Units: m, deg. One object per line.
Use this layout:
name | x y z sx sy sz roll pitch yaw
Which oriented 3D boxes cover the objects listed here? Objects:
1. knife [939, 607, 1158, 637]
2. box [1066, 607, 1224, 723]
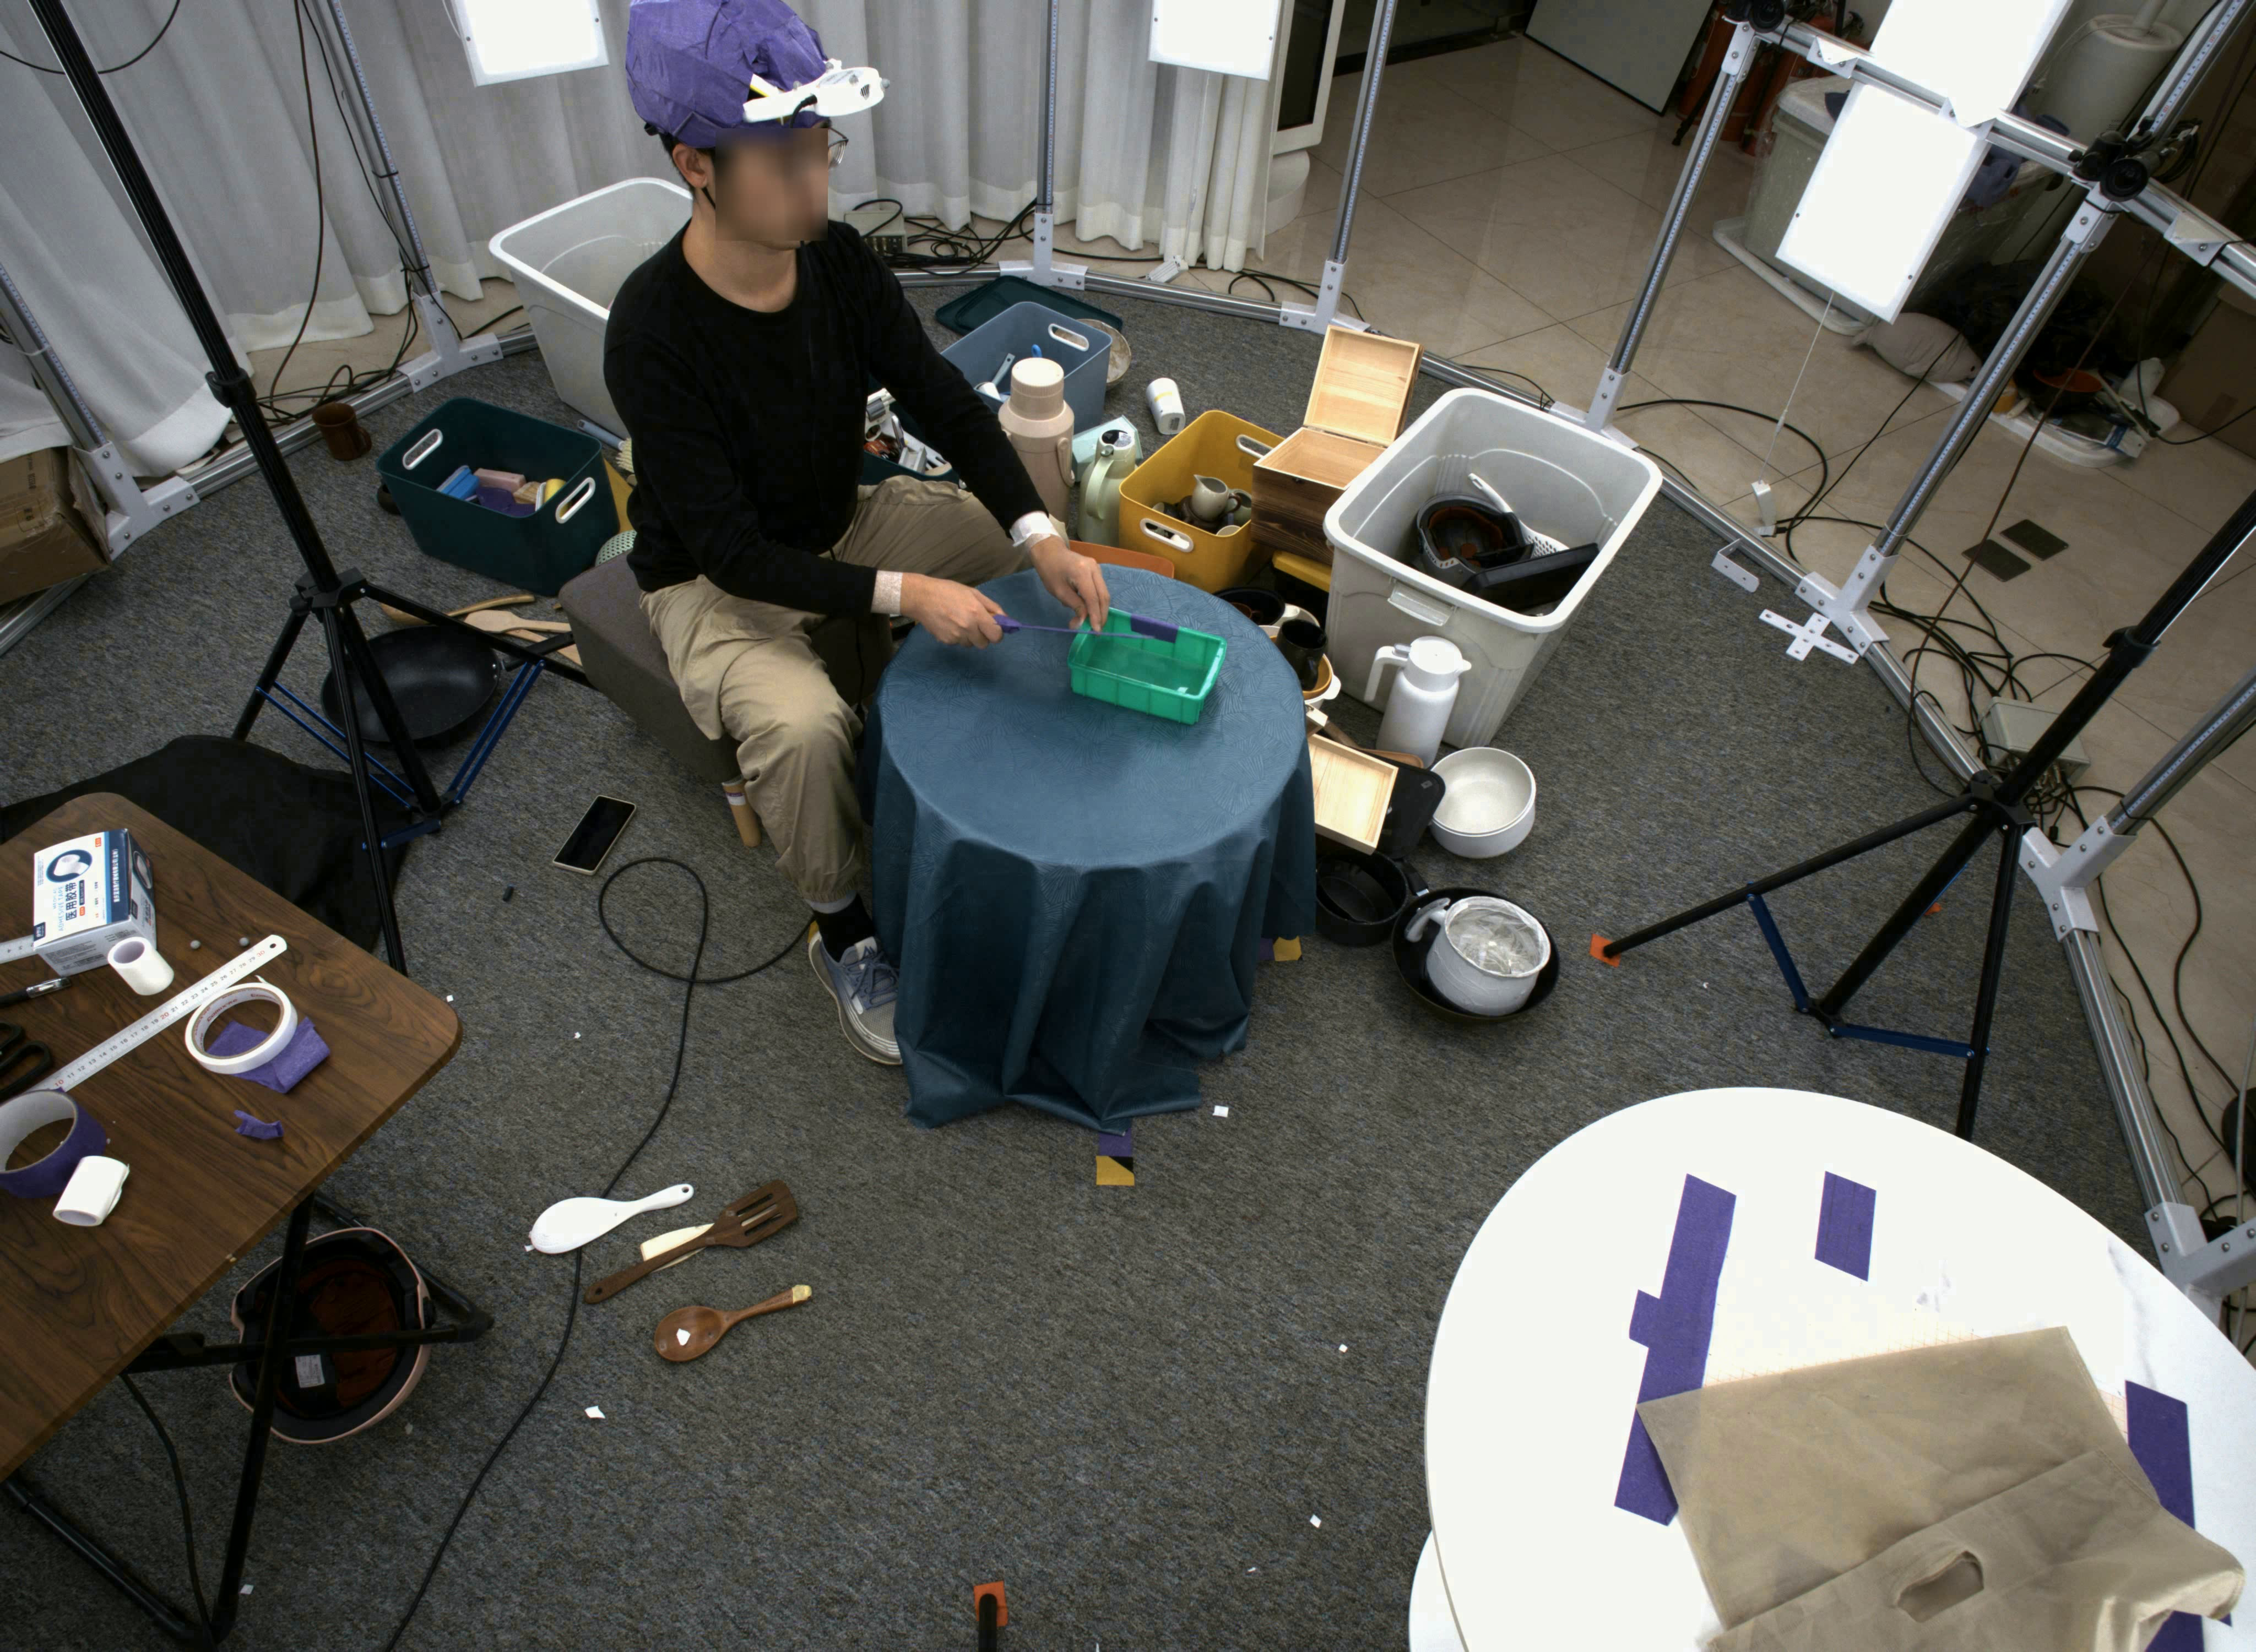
knife | -0.119 -0.279 1.768 0.316 0.032 0.104 5 8 13
box | 0.024 -0.228 1.829 0.211 0.064 0.141 14 48 11
